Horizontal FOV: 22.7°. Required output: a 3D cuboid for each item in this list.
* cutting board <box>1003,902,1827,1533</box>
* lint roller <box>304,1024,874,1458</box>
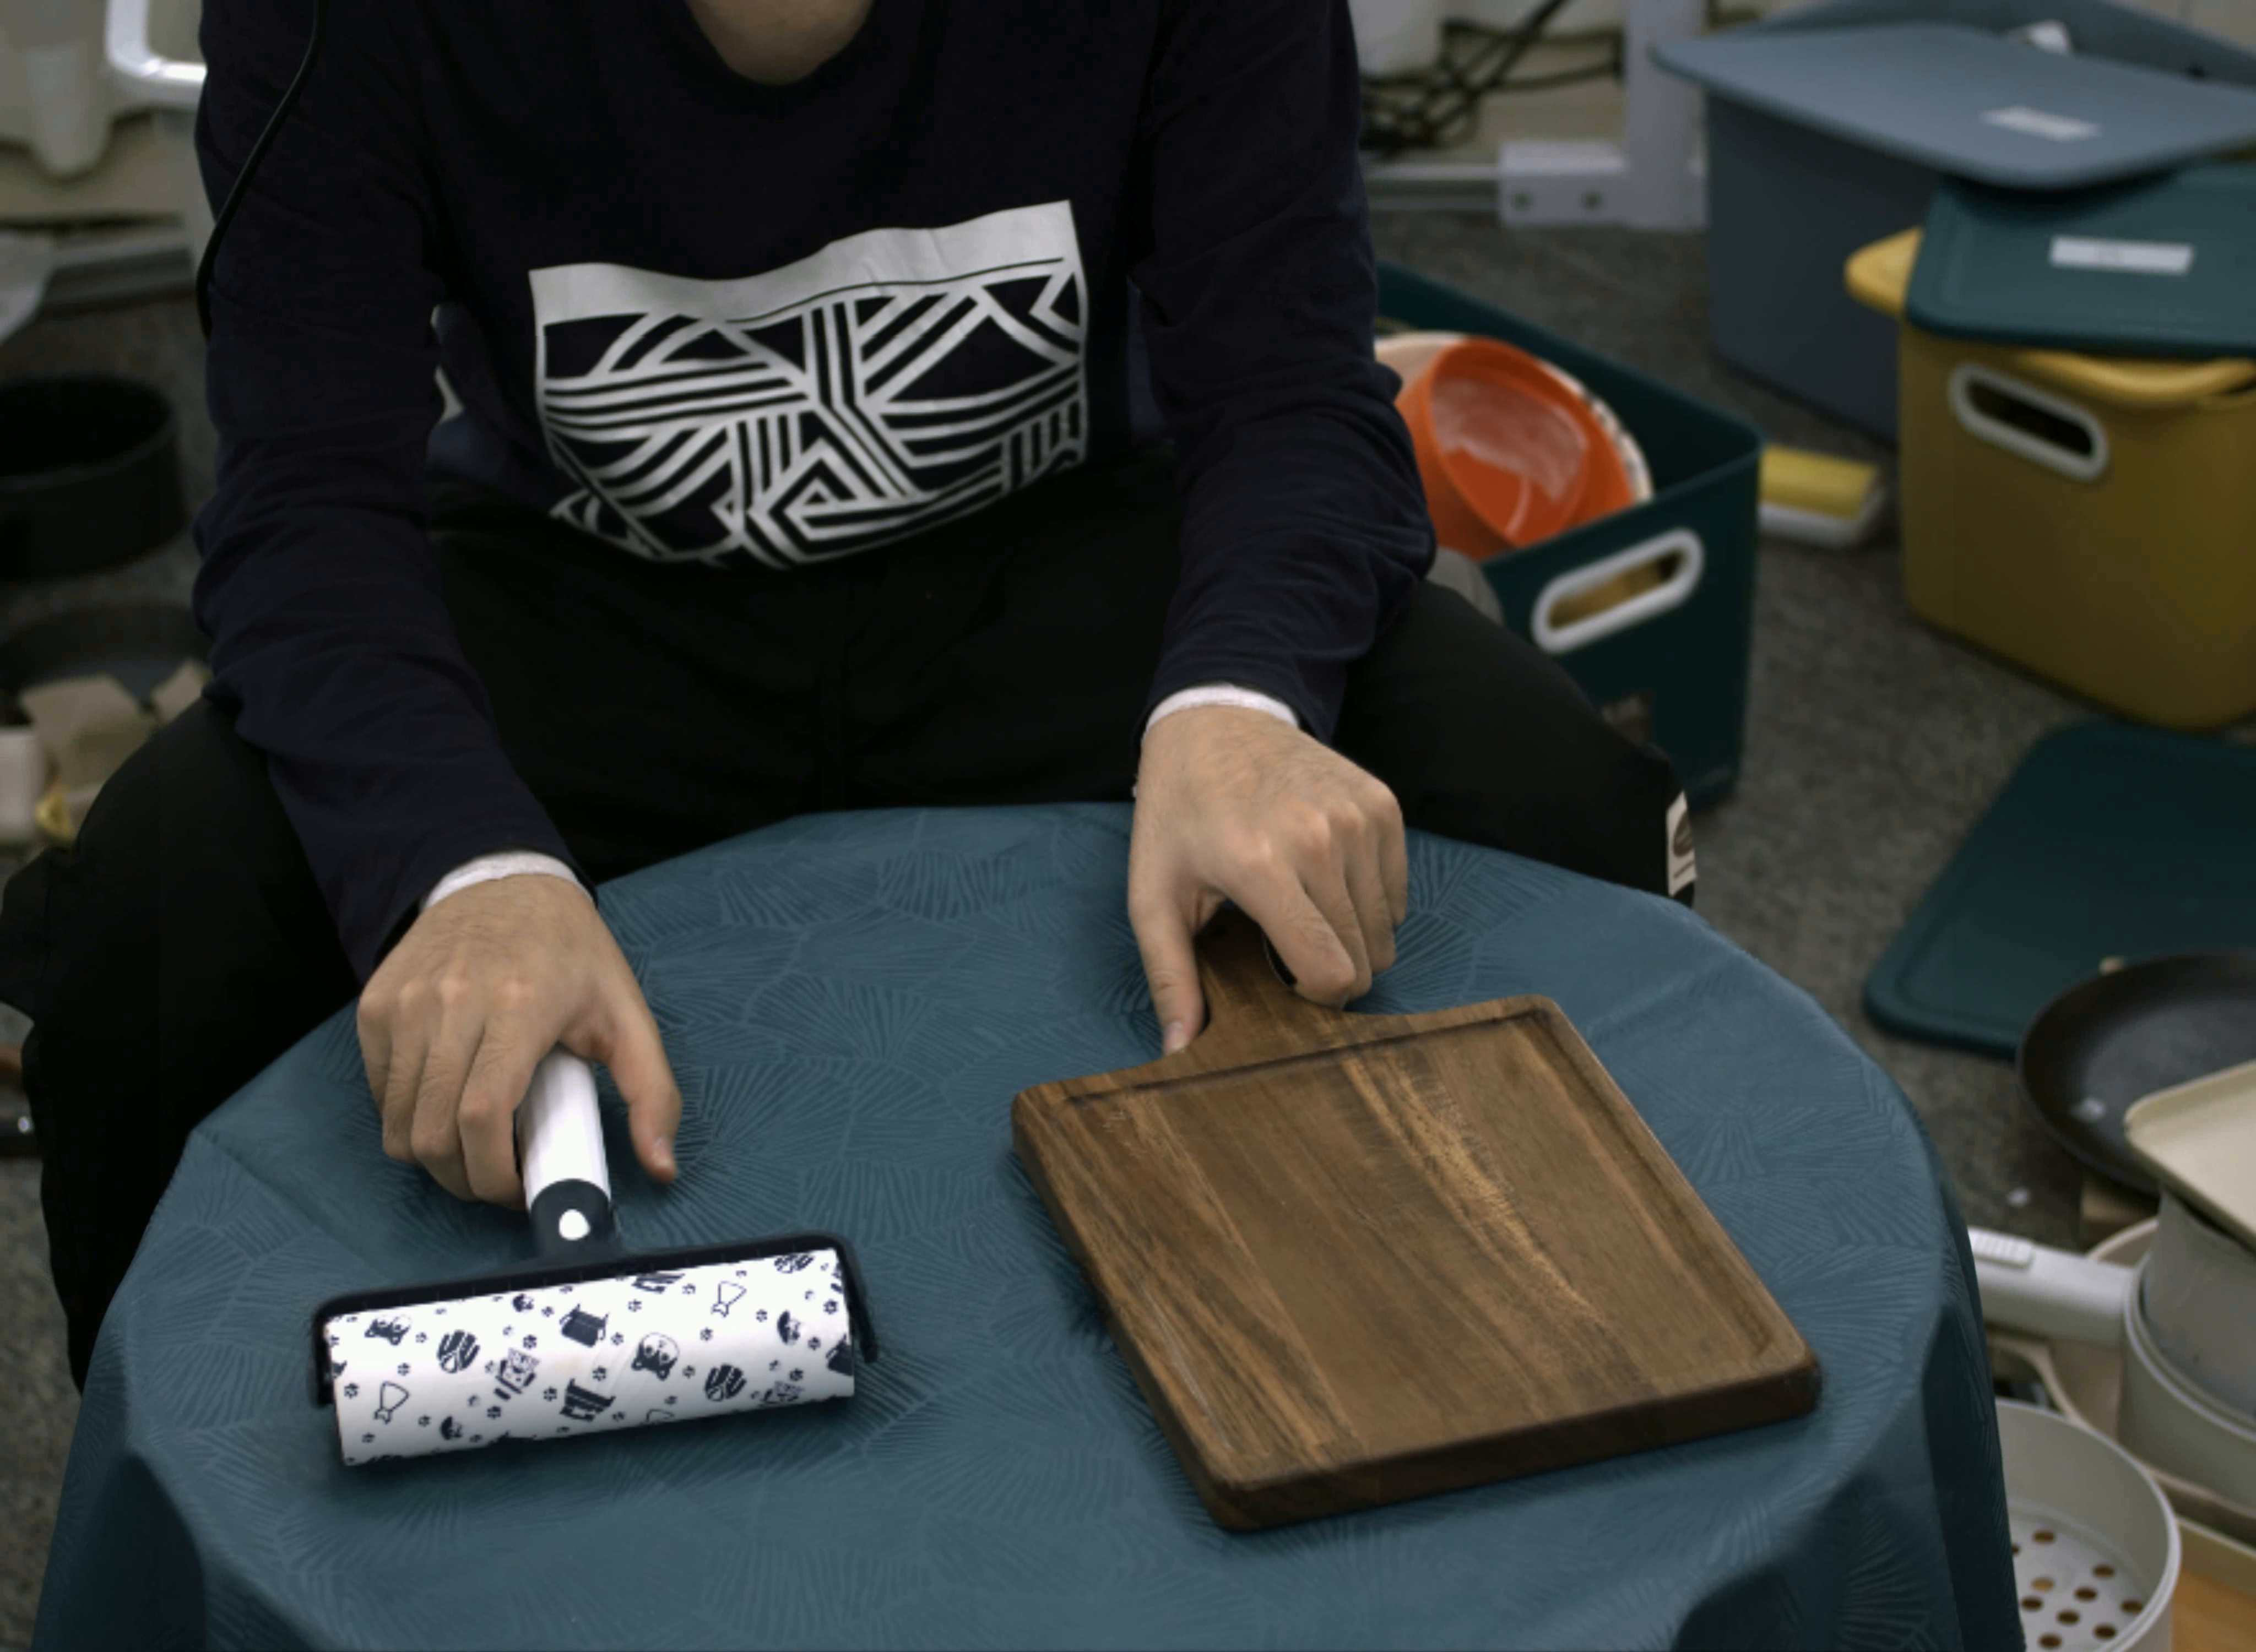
[{"bbox_3d":[0.072,0.112,1.849,0.201,0.023,0.355,-10,28,-14],"label":"cutting board"},{"bbox_3d":[-0.185,0.121,1.835,0.176,0.050,0.250,-8,26,-8],"label":"lint roller"}]
